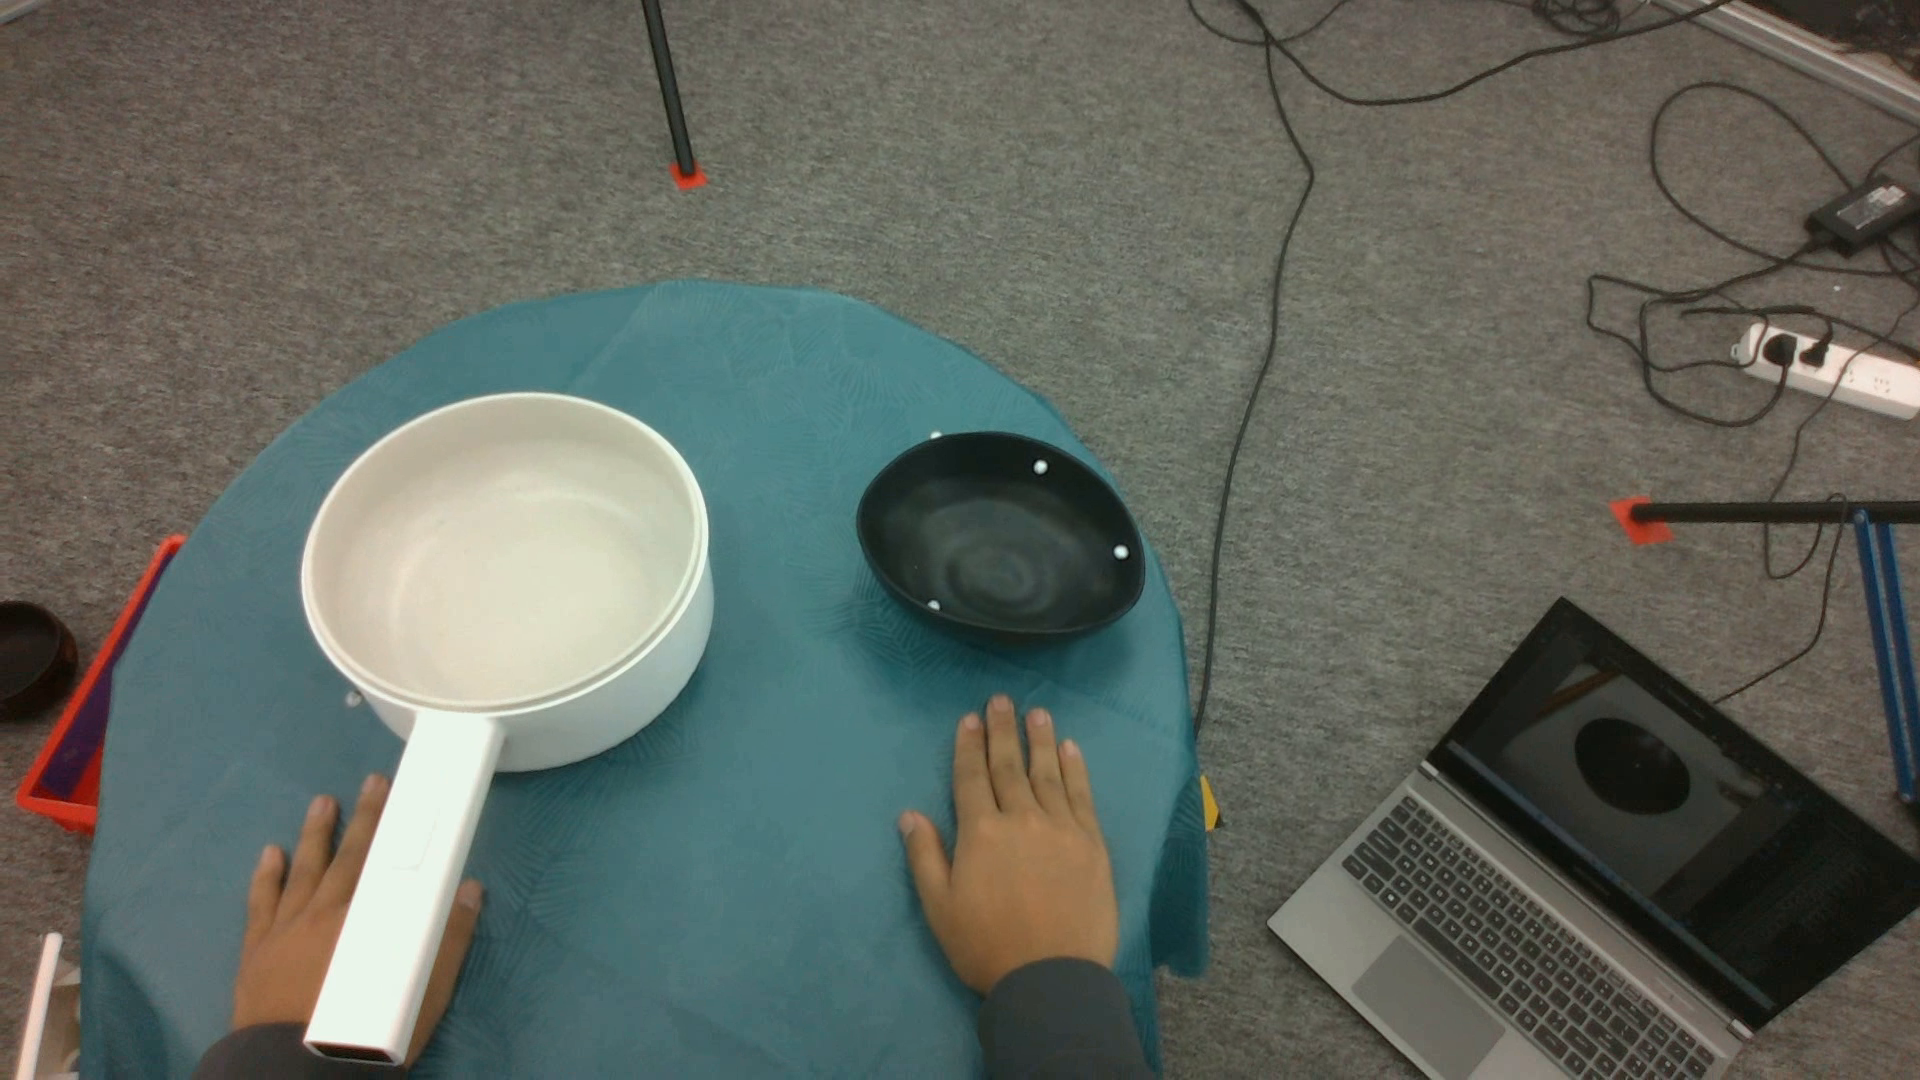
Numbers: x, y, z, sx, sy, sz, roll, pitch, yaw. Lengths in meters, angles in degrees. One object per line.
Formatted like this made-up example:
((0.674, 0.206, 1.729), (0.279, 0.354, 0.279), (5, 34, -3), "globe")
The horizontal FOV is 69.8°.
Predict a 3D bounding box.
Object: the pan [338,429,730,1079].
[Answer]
((-0.232, 0.110, 0.729), (0.201, 0.101, 0.356), (4, 57, -1), "pan")

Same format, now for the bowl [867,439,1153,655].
((0.029, 0.014, 0.814), (0.170, 0.066, 0.138), (14, 56, 6), "bowl")
